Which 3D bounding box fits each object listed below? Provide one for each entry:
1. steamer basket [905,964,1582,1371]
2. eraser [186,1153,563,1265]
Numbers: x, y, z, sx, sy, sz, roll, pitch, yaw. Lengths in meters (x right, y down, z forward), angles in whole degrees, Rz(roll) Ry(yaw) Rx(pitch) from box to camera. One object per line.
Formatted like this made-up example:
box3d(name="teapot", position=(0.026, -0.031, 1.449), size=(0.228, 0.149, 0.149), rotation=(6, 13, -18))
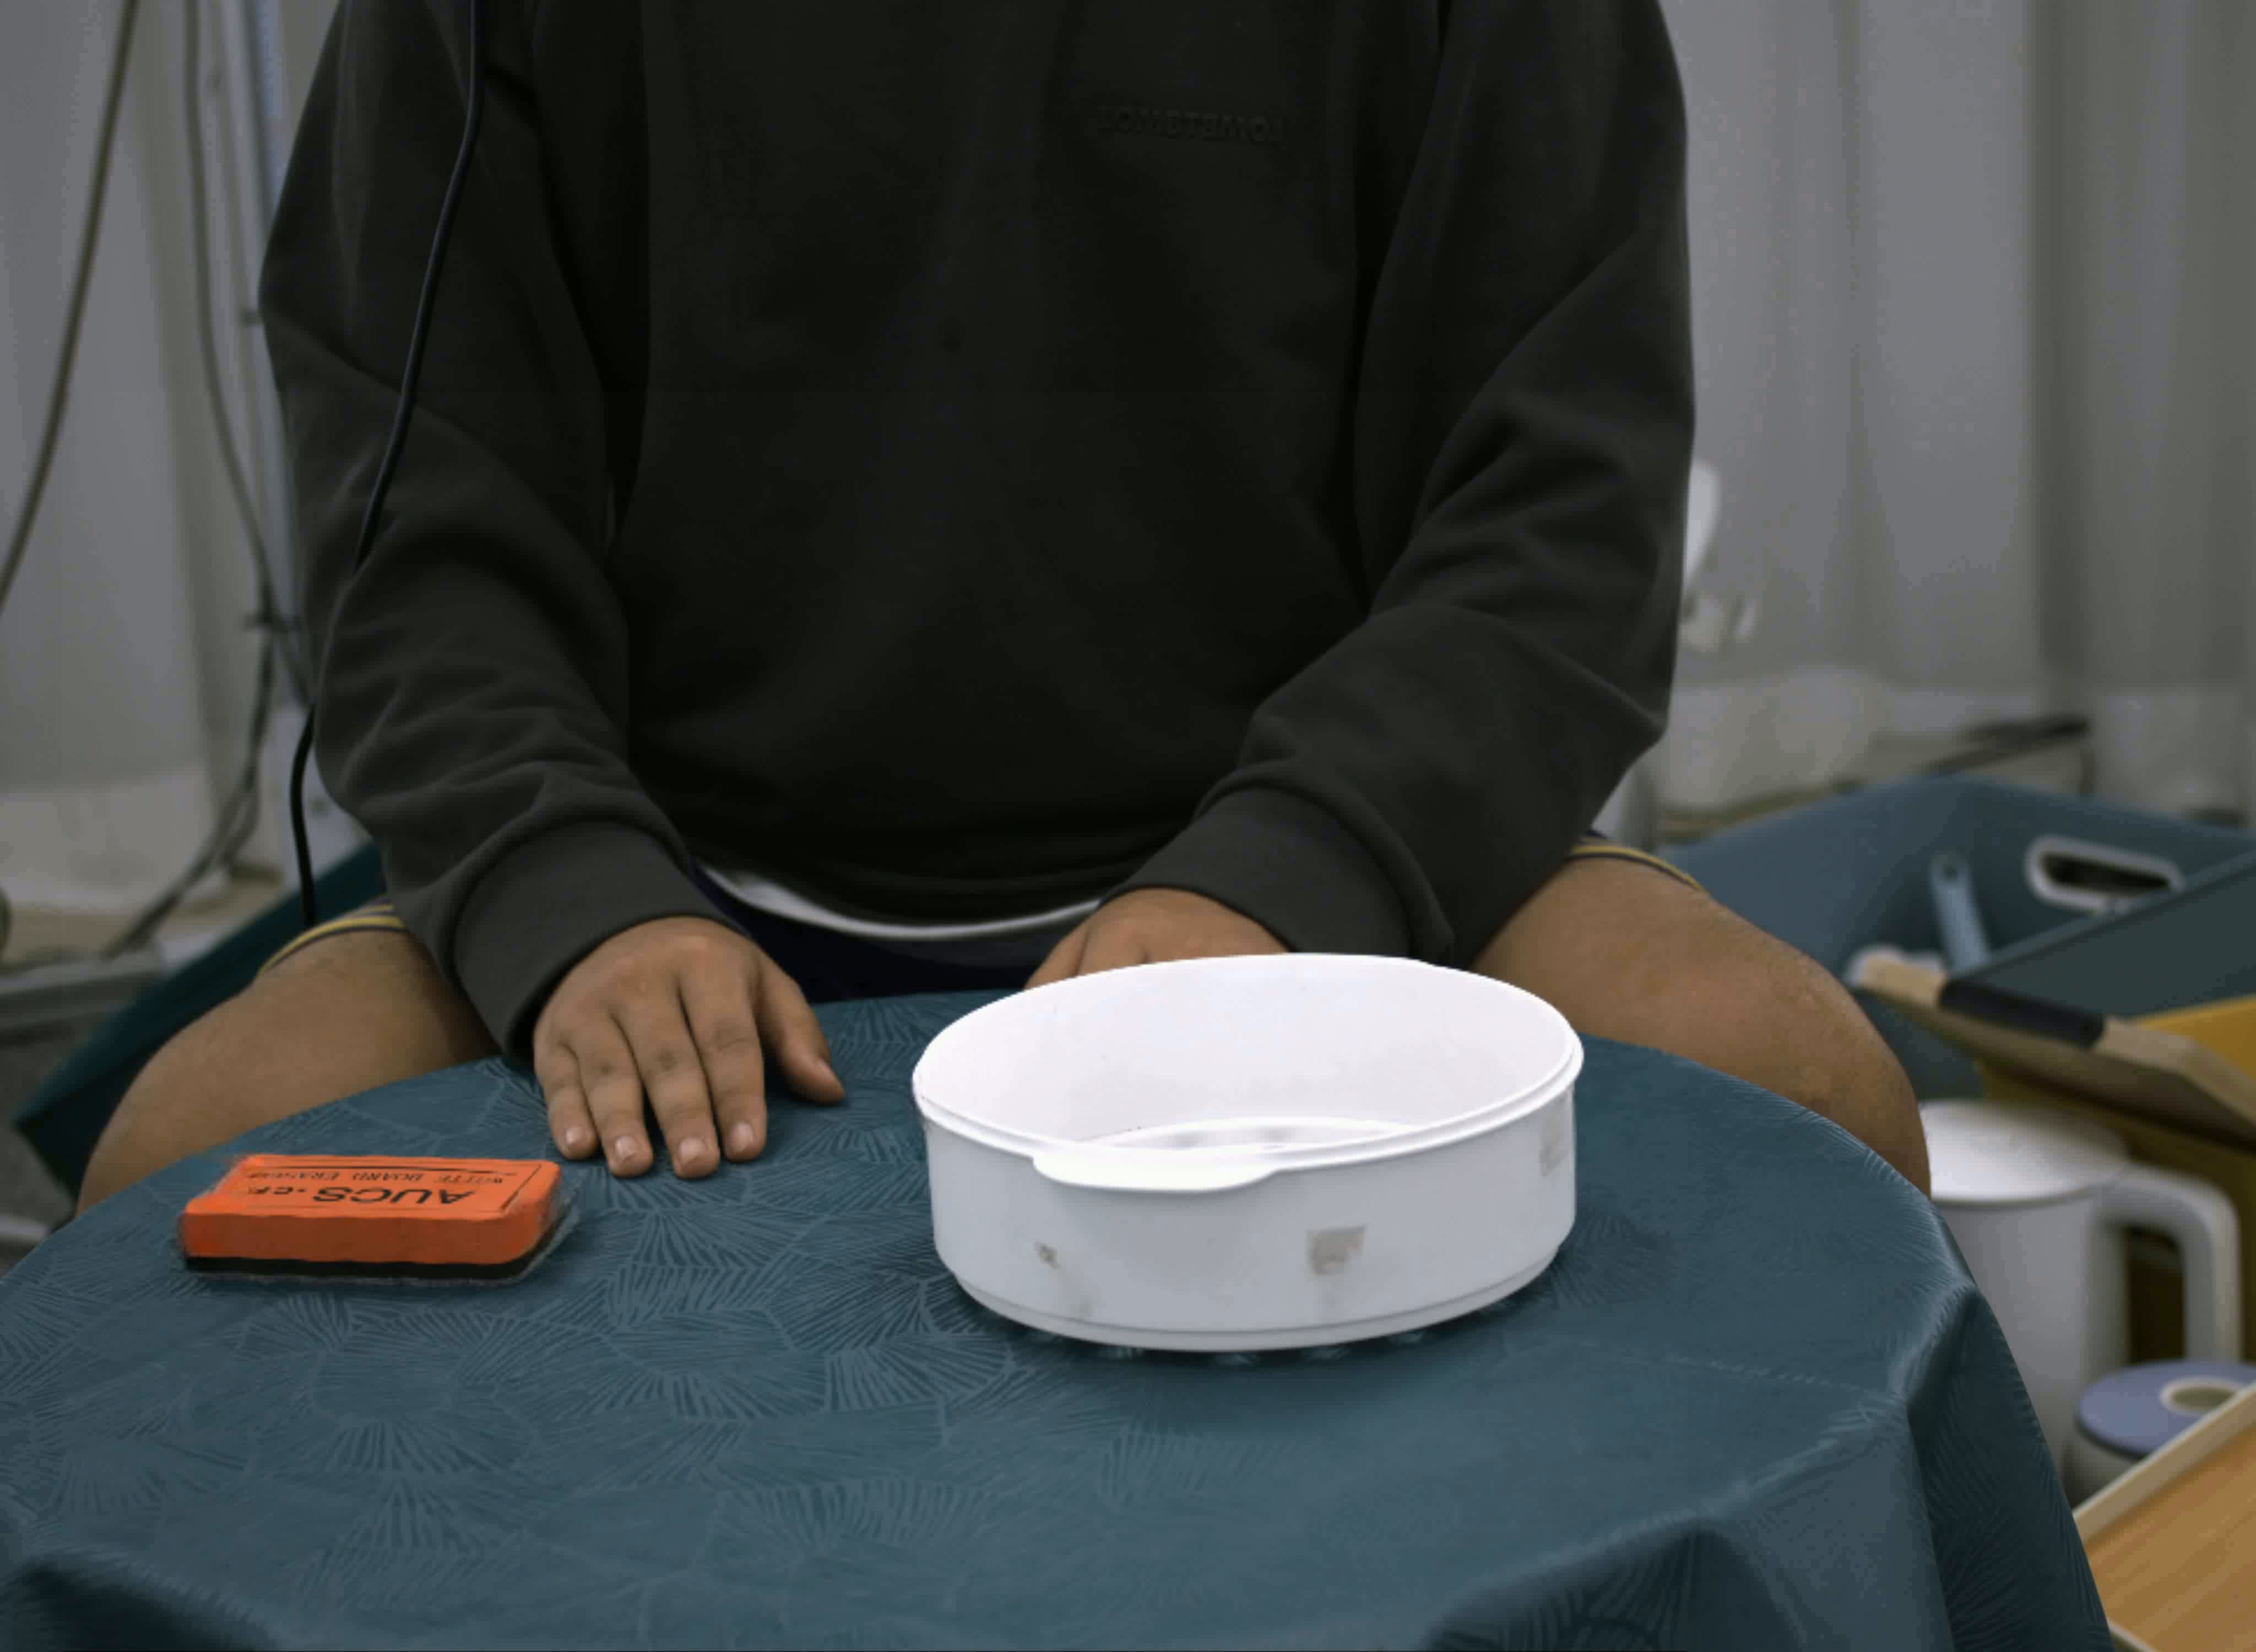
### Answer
box3d(name="steamer basket", position=(0.036, 0.102, 1.636), size=(0.202, 0.069, 0.231), rotation=(1, 16, 17))
box3d(name="eraser", position=(-0.232, 0.118, 1.690), size=(0.108, 0.023, 0.059), rotation=(-1, 9, 12))
